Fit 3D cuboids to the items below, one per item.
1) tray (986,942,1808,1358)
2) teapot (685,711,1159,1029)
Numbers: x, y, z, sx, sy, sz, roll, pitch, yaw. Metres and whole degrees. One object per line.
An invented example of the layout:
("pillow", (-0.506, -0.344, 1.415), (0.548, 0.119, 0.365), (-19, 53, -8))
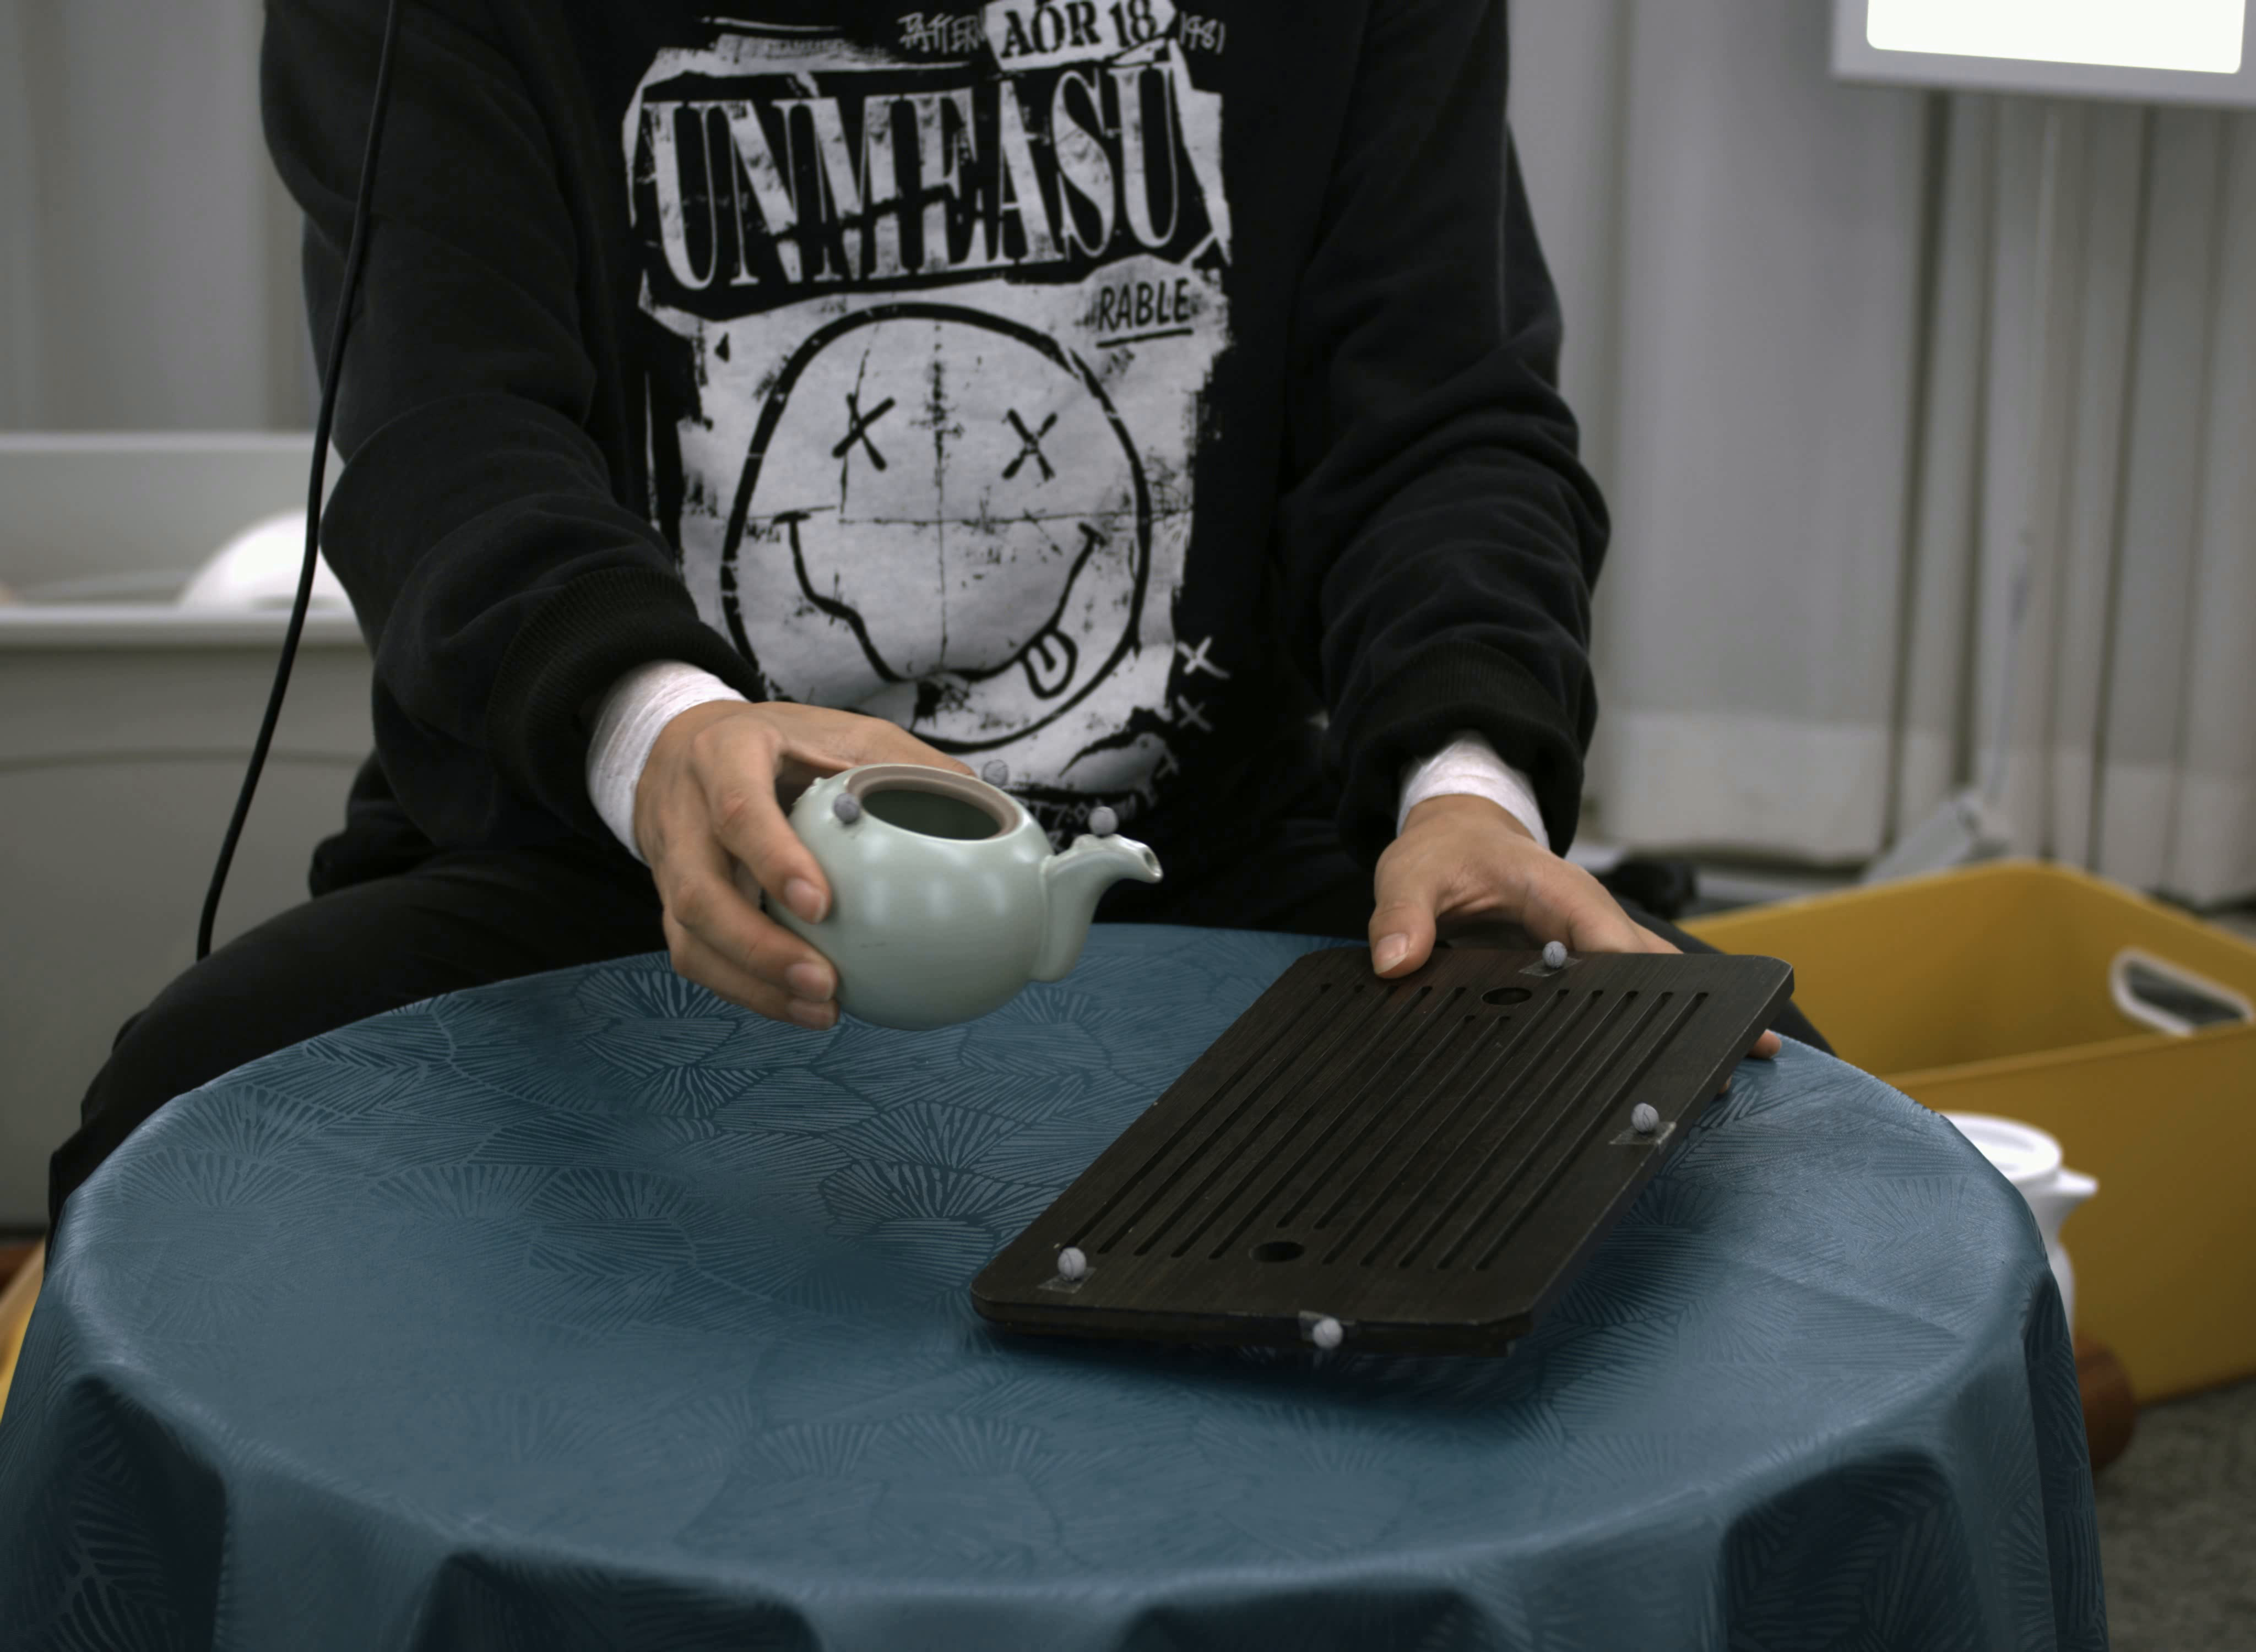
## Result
("tray", (0.089, 0.095, 1.595), (0.168, 0.019, 0.306), (1, 18, 22))
("teapot", (-0.066, 0.018, 1.565), (0.143, 0.075, 0.088), (19, 22, 9))
